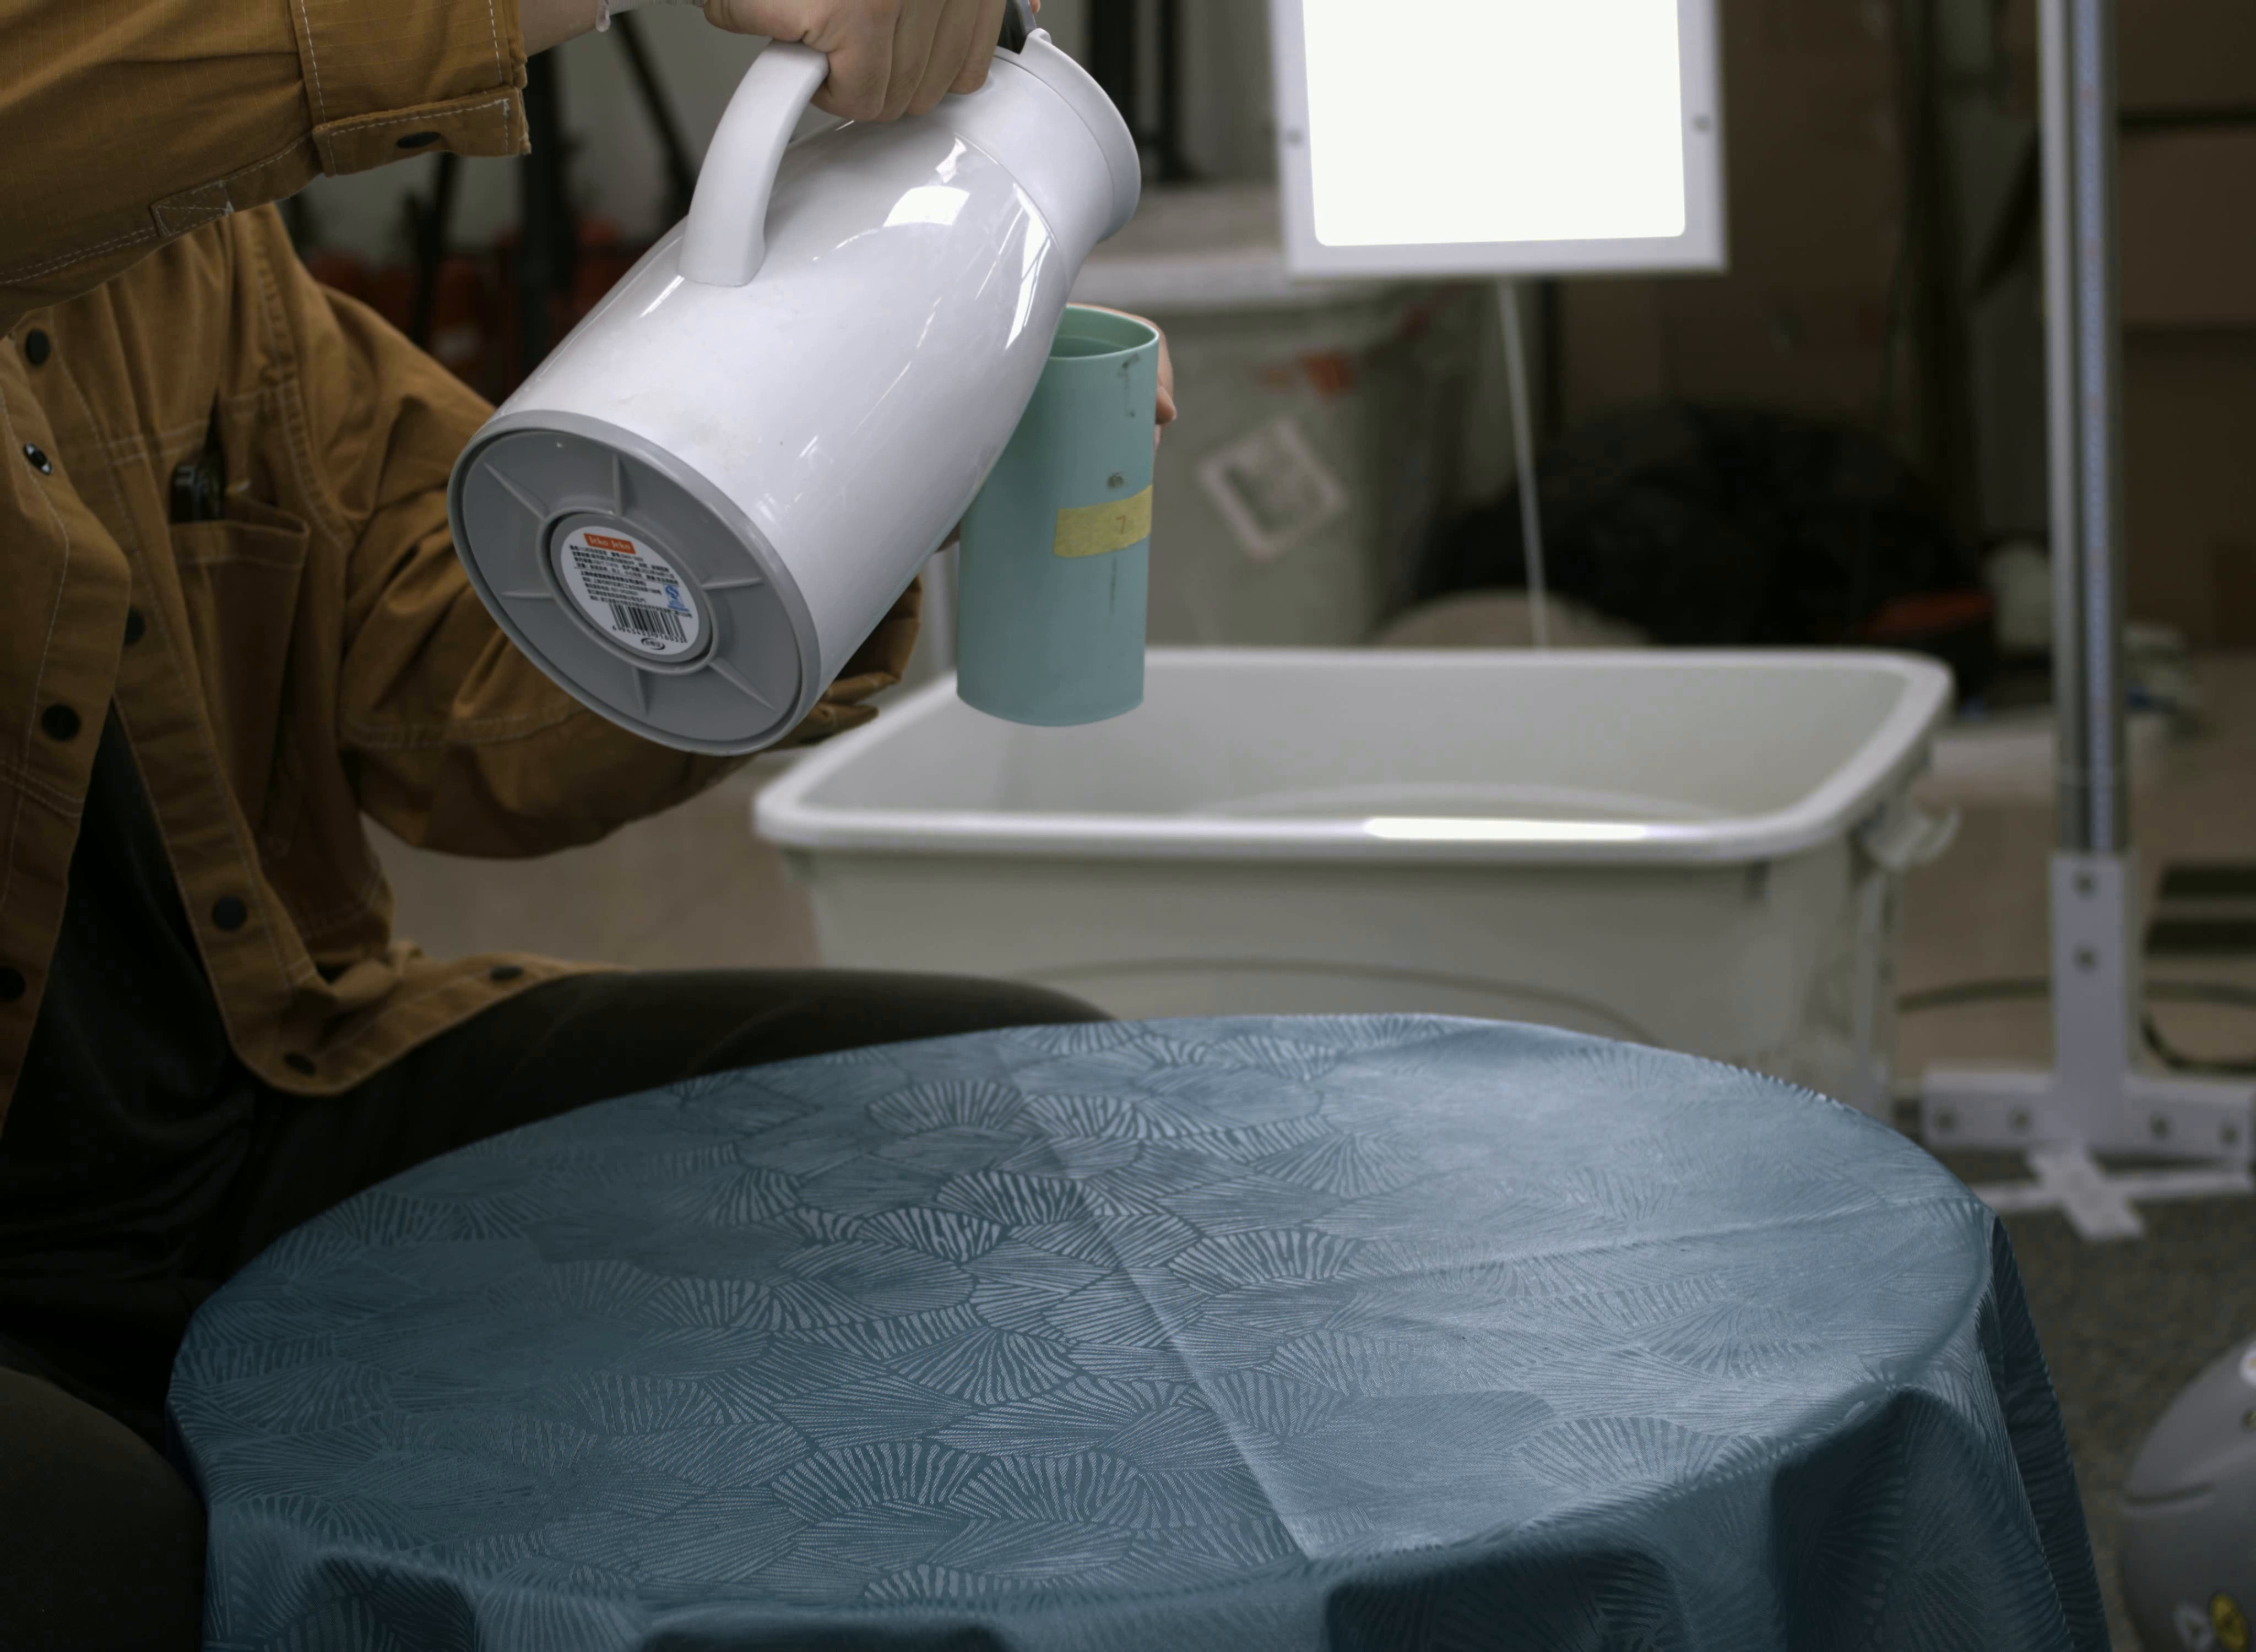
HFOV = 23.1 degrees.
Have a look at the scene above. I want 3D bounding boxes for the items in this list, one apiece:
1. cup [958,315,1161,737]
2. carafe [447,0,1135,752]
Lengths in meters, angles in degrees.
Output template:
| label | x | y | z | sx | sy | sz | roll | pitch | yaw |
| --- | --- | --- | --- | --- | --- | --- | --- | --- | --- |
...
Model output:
| label | x | y | z | sx | sy | sz | roll | pitch | yaw |
| --- | --- | --- | --- | --- | --- | --- | --- | --- | --- |
| cup | -0.025 | -0.103 | 1.875 | 0.066 | 0.133 | 0.066 | 1 | 20 | -2 |
| carafe | -0.095 | -0.166 | 1.732 | 0.135 | 0.167 | 0.244 | 15 | 52 | 29 |
